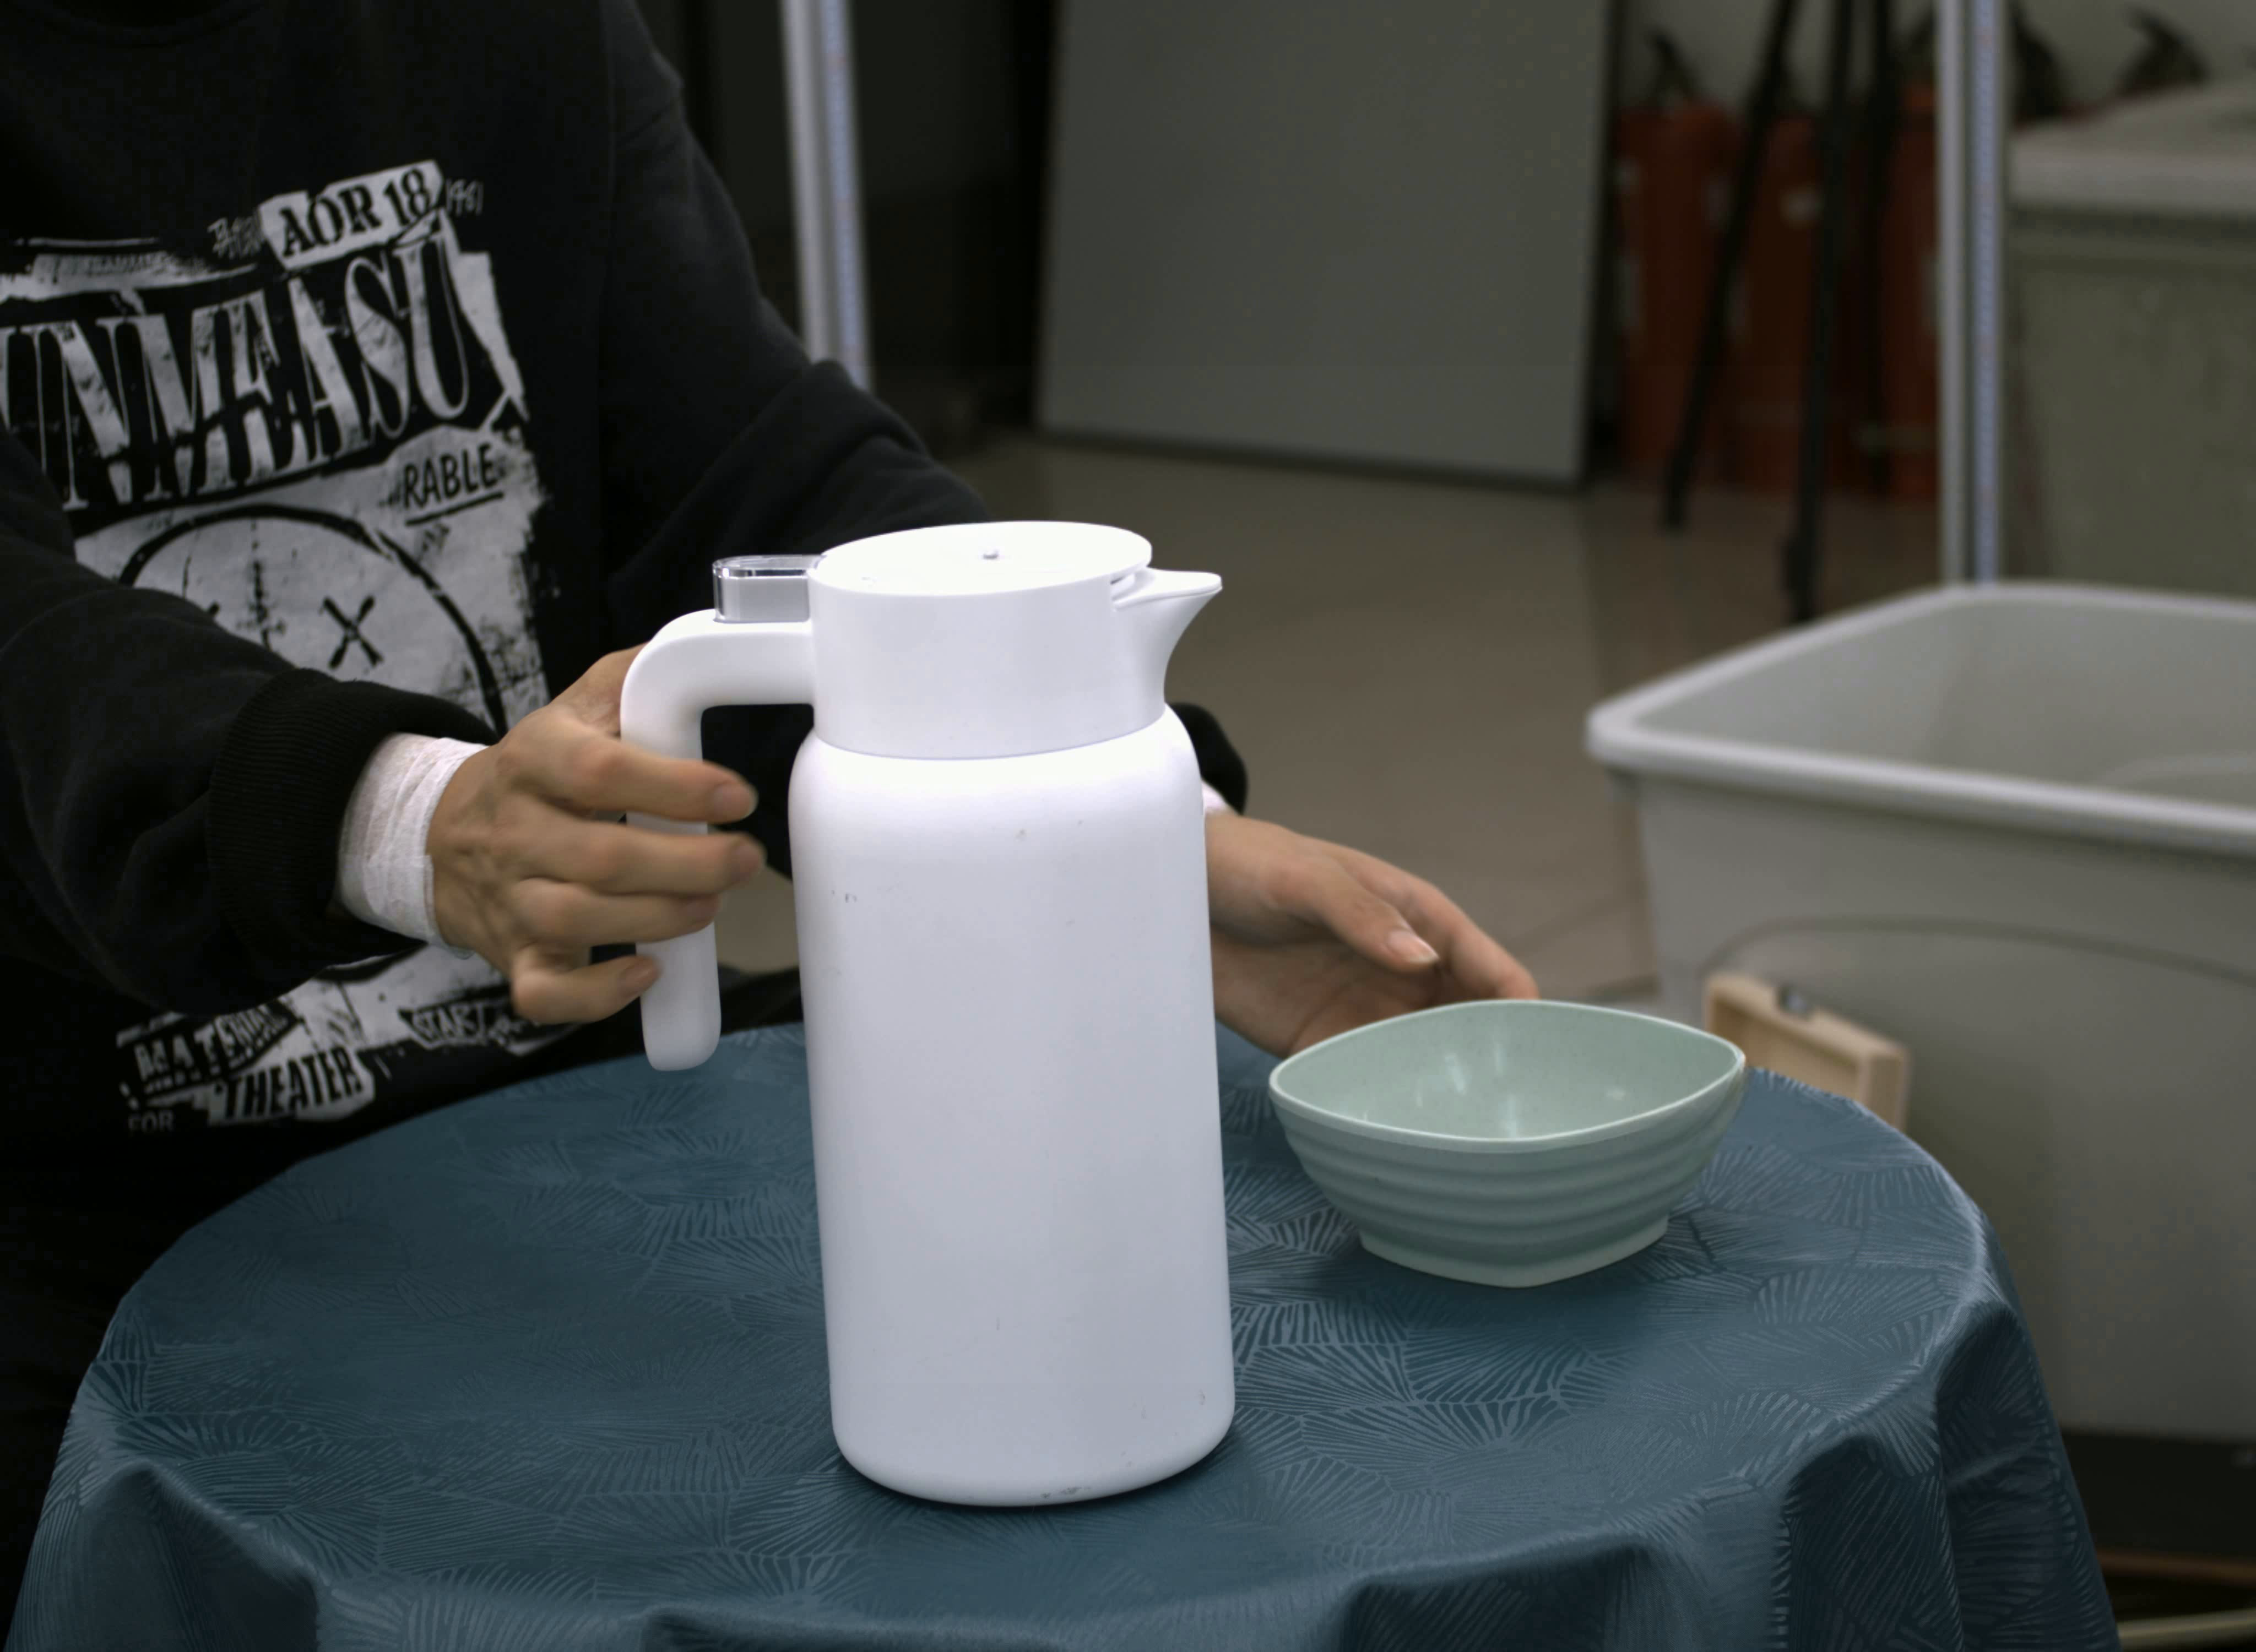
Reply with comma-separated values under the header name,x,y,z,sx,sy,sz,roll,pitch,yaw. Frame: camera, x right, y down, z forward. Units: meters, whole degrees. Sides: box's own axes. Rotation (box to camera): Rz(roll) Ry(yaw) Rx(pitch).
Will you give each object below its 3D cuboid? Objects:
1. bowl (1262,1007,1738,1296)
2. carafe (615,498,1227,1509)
name,x,y,z,sx,sy,sz,roll,pitch,yaw
bowl,0.118,0.105,1.693,0.149,0.059,0.151,-4,13,0
carafe,-0.053,0.049,1.521,0.171,0.272,0.123,-2,15,8
